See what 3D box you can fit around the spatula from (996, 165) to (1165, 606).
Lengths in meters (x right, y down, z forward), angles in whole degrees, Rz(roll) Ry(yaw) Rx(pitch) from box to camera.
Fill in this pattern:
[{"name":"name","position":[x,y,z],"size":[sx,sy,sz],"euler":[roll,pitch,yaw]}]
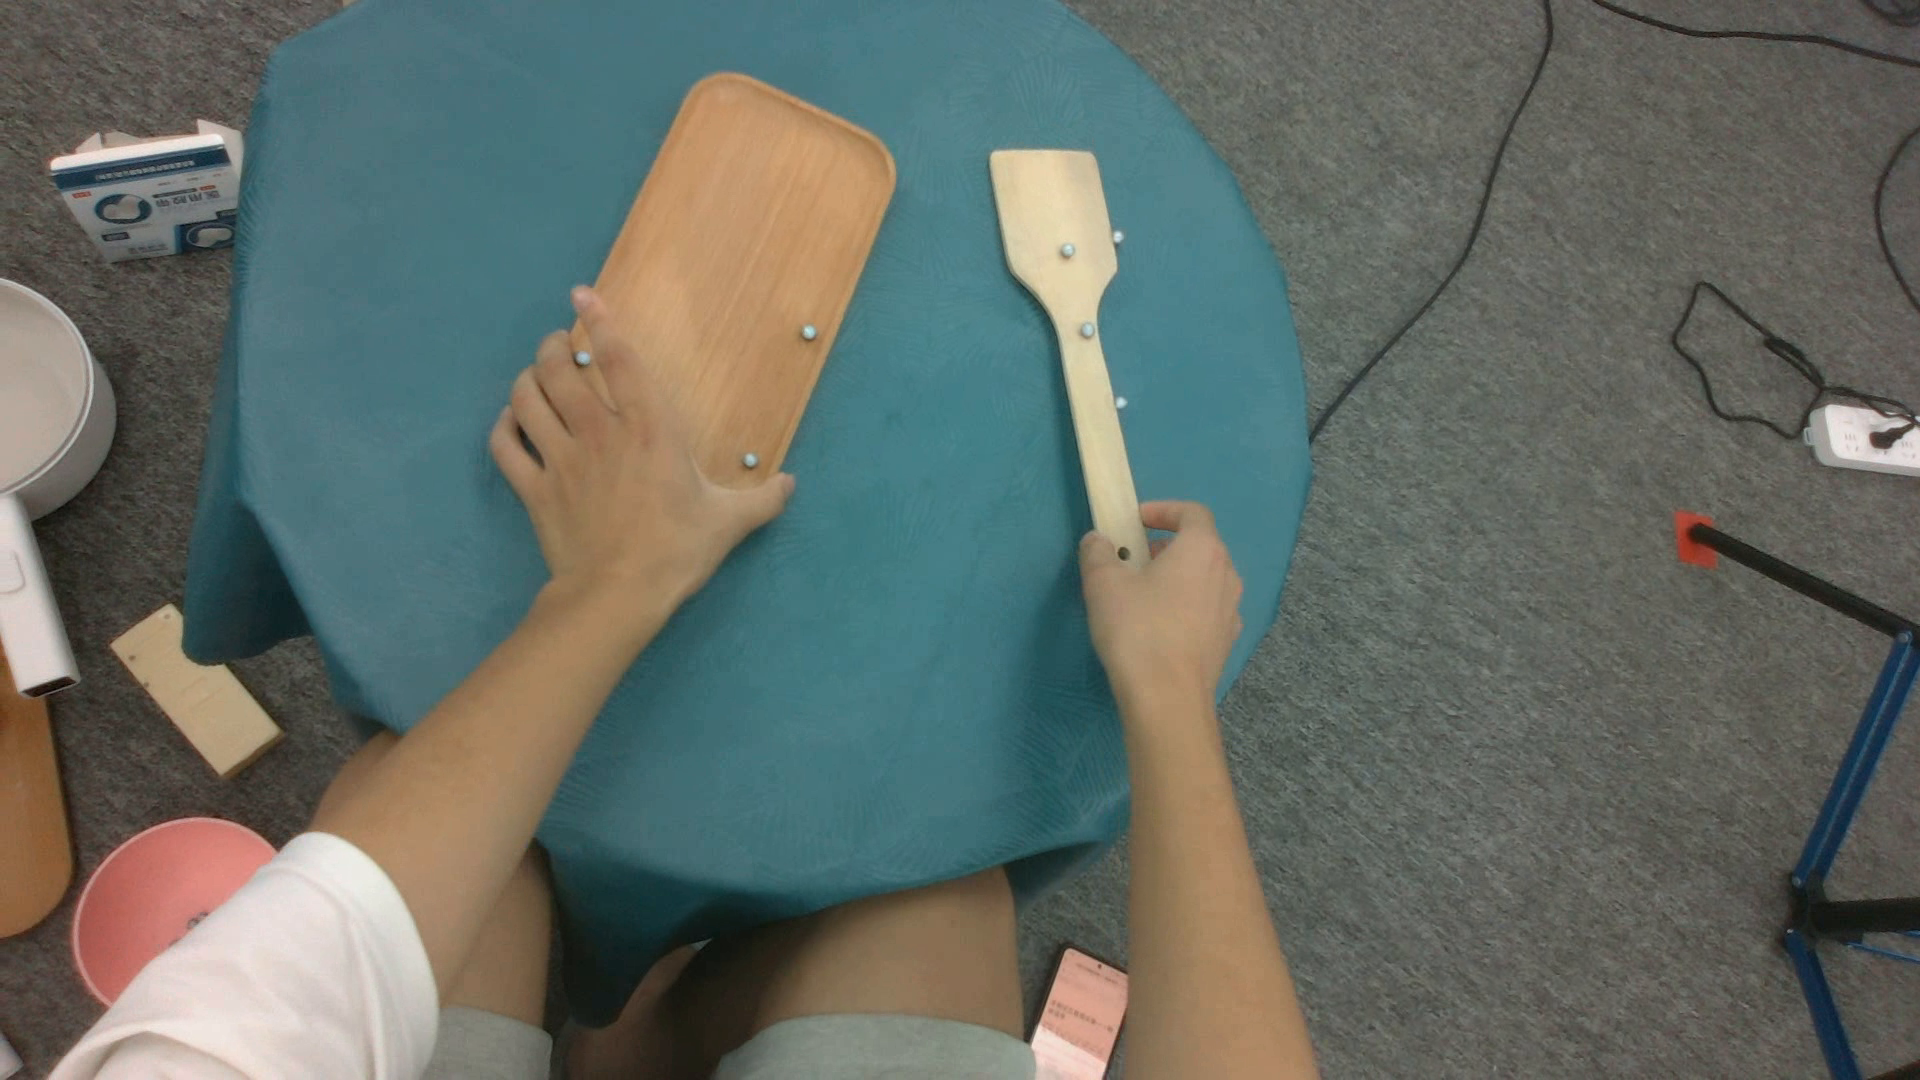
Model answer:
[{"name":"spatula","position":[0.080,-0.099,0.813],"size":[0.072,0.010,0.294],"euler":[-4,68,-15]}]

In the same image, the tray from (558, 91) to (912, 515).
[{"name":"tray","position":[-0.122,-0.138,0.781],"size":[0.130,0.023,0.251],"euler":[25,68,-9]}]
